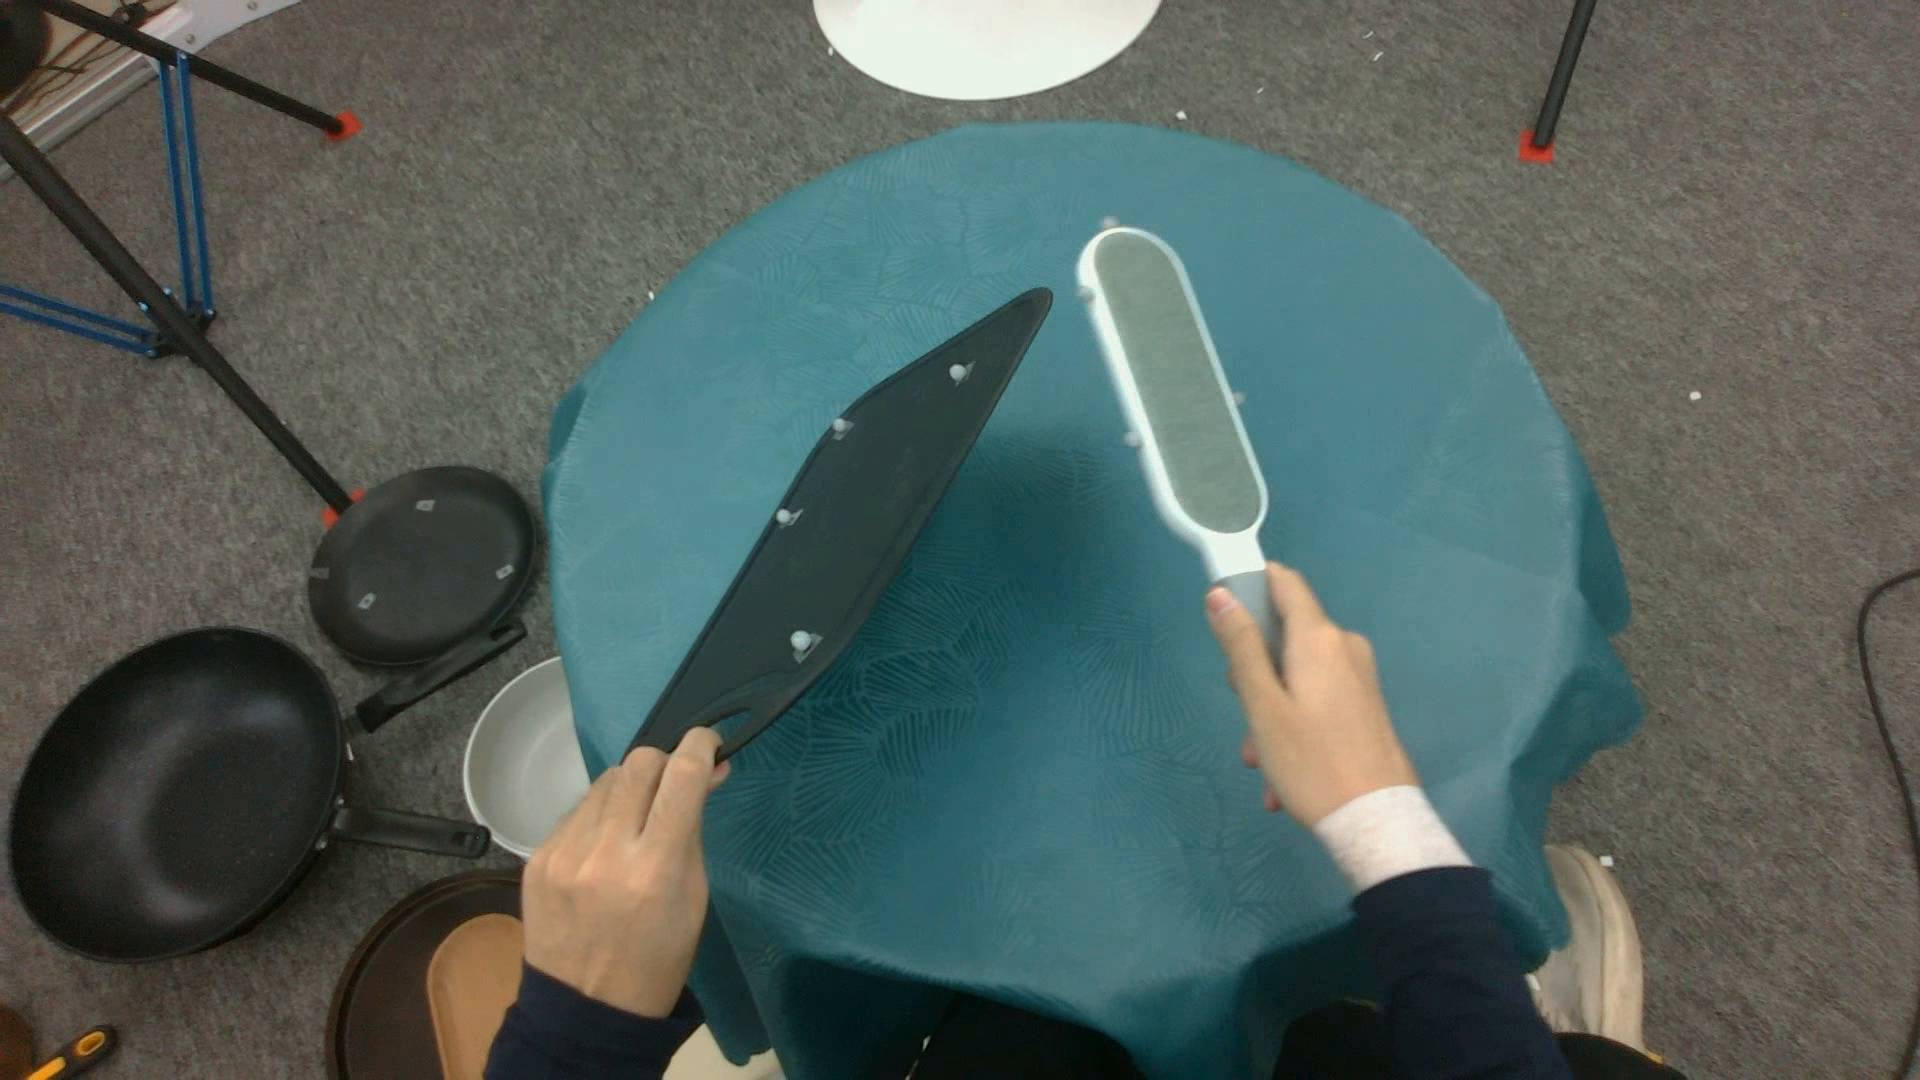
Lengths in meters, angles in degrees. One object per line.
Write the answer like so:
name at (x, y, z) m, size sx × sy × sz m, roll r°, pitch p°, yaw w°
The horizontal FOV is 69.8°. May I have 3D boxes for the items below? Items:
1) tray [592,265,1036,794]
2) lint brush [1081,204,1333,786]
tray at (-0.072, -0.011, 0.682) m, size 0.010 × 0.210 × 0.327 m, roll 44°, pitch 49°, yaw -19°
lint brush at (0.118, -0.032, 0.664) m, size 0.060 × 0.021 × 0.309 m, roll -4°, pitch 68°, yaw -27°
